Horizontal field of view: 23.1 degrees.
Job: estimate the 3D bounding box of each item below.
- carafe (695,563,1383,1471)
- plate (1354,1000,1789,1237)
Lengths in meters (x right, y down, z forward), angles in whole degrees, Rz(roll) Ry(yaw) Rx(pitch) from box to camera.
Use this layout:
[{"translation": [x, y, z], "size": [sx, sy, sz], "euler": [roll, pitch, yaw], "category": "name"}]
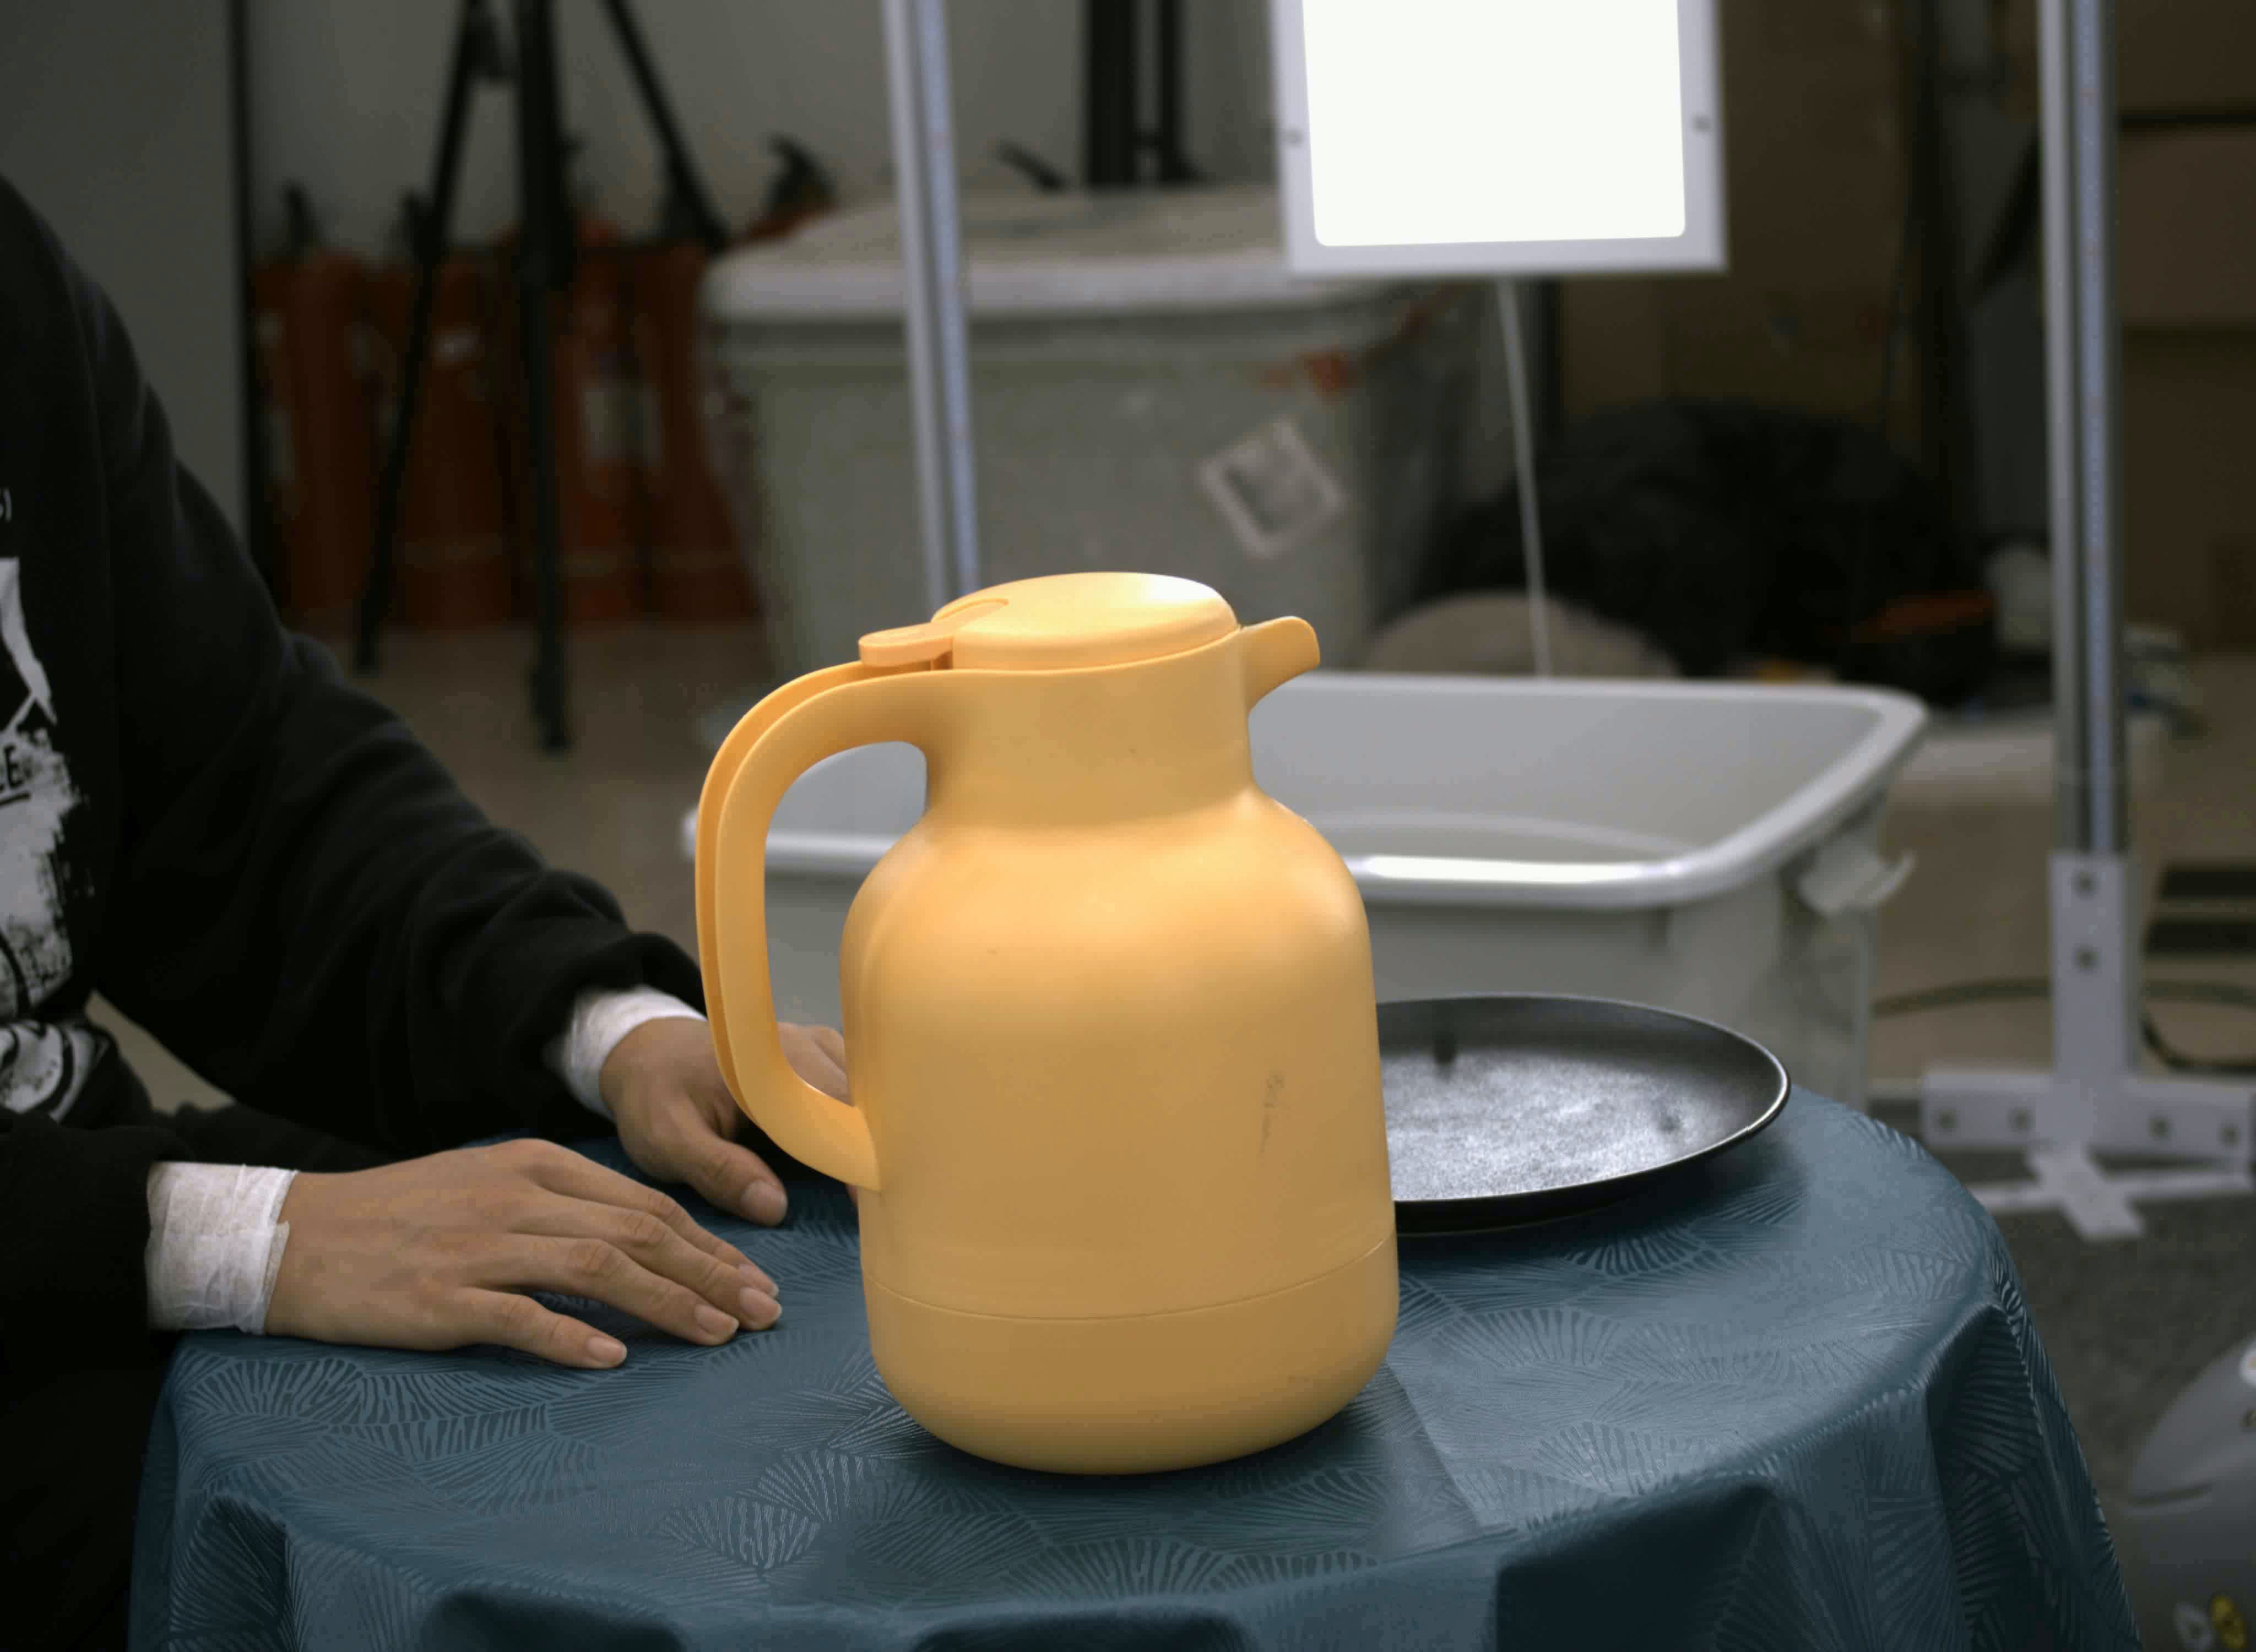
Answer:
[{"translation": [-0.027, 0.055, 1.647], "size": [0.200, 0.261, 0.165], "euler": [-6, 11, -13], "category": "carafe"}, {"translation": [0.108, 0.103, 1.905], "size": [0.244, 0.023, 0.244], "euler": [-5, 14, 0], "category": "plate"}]
